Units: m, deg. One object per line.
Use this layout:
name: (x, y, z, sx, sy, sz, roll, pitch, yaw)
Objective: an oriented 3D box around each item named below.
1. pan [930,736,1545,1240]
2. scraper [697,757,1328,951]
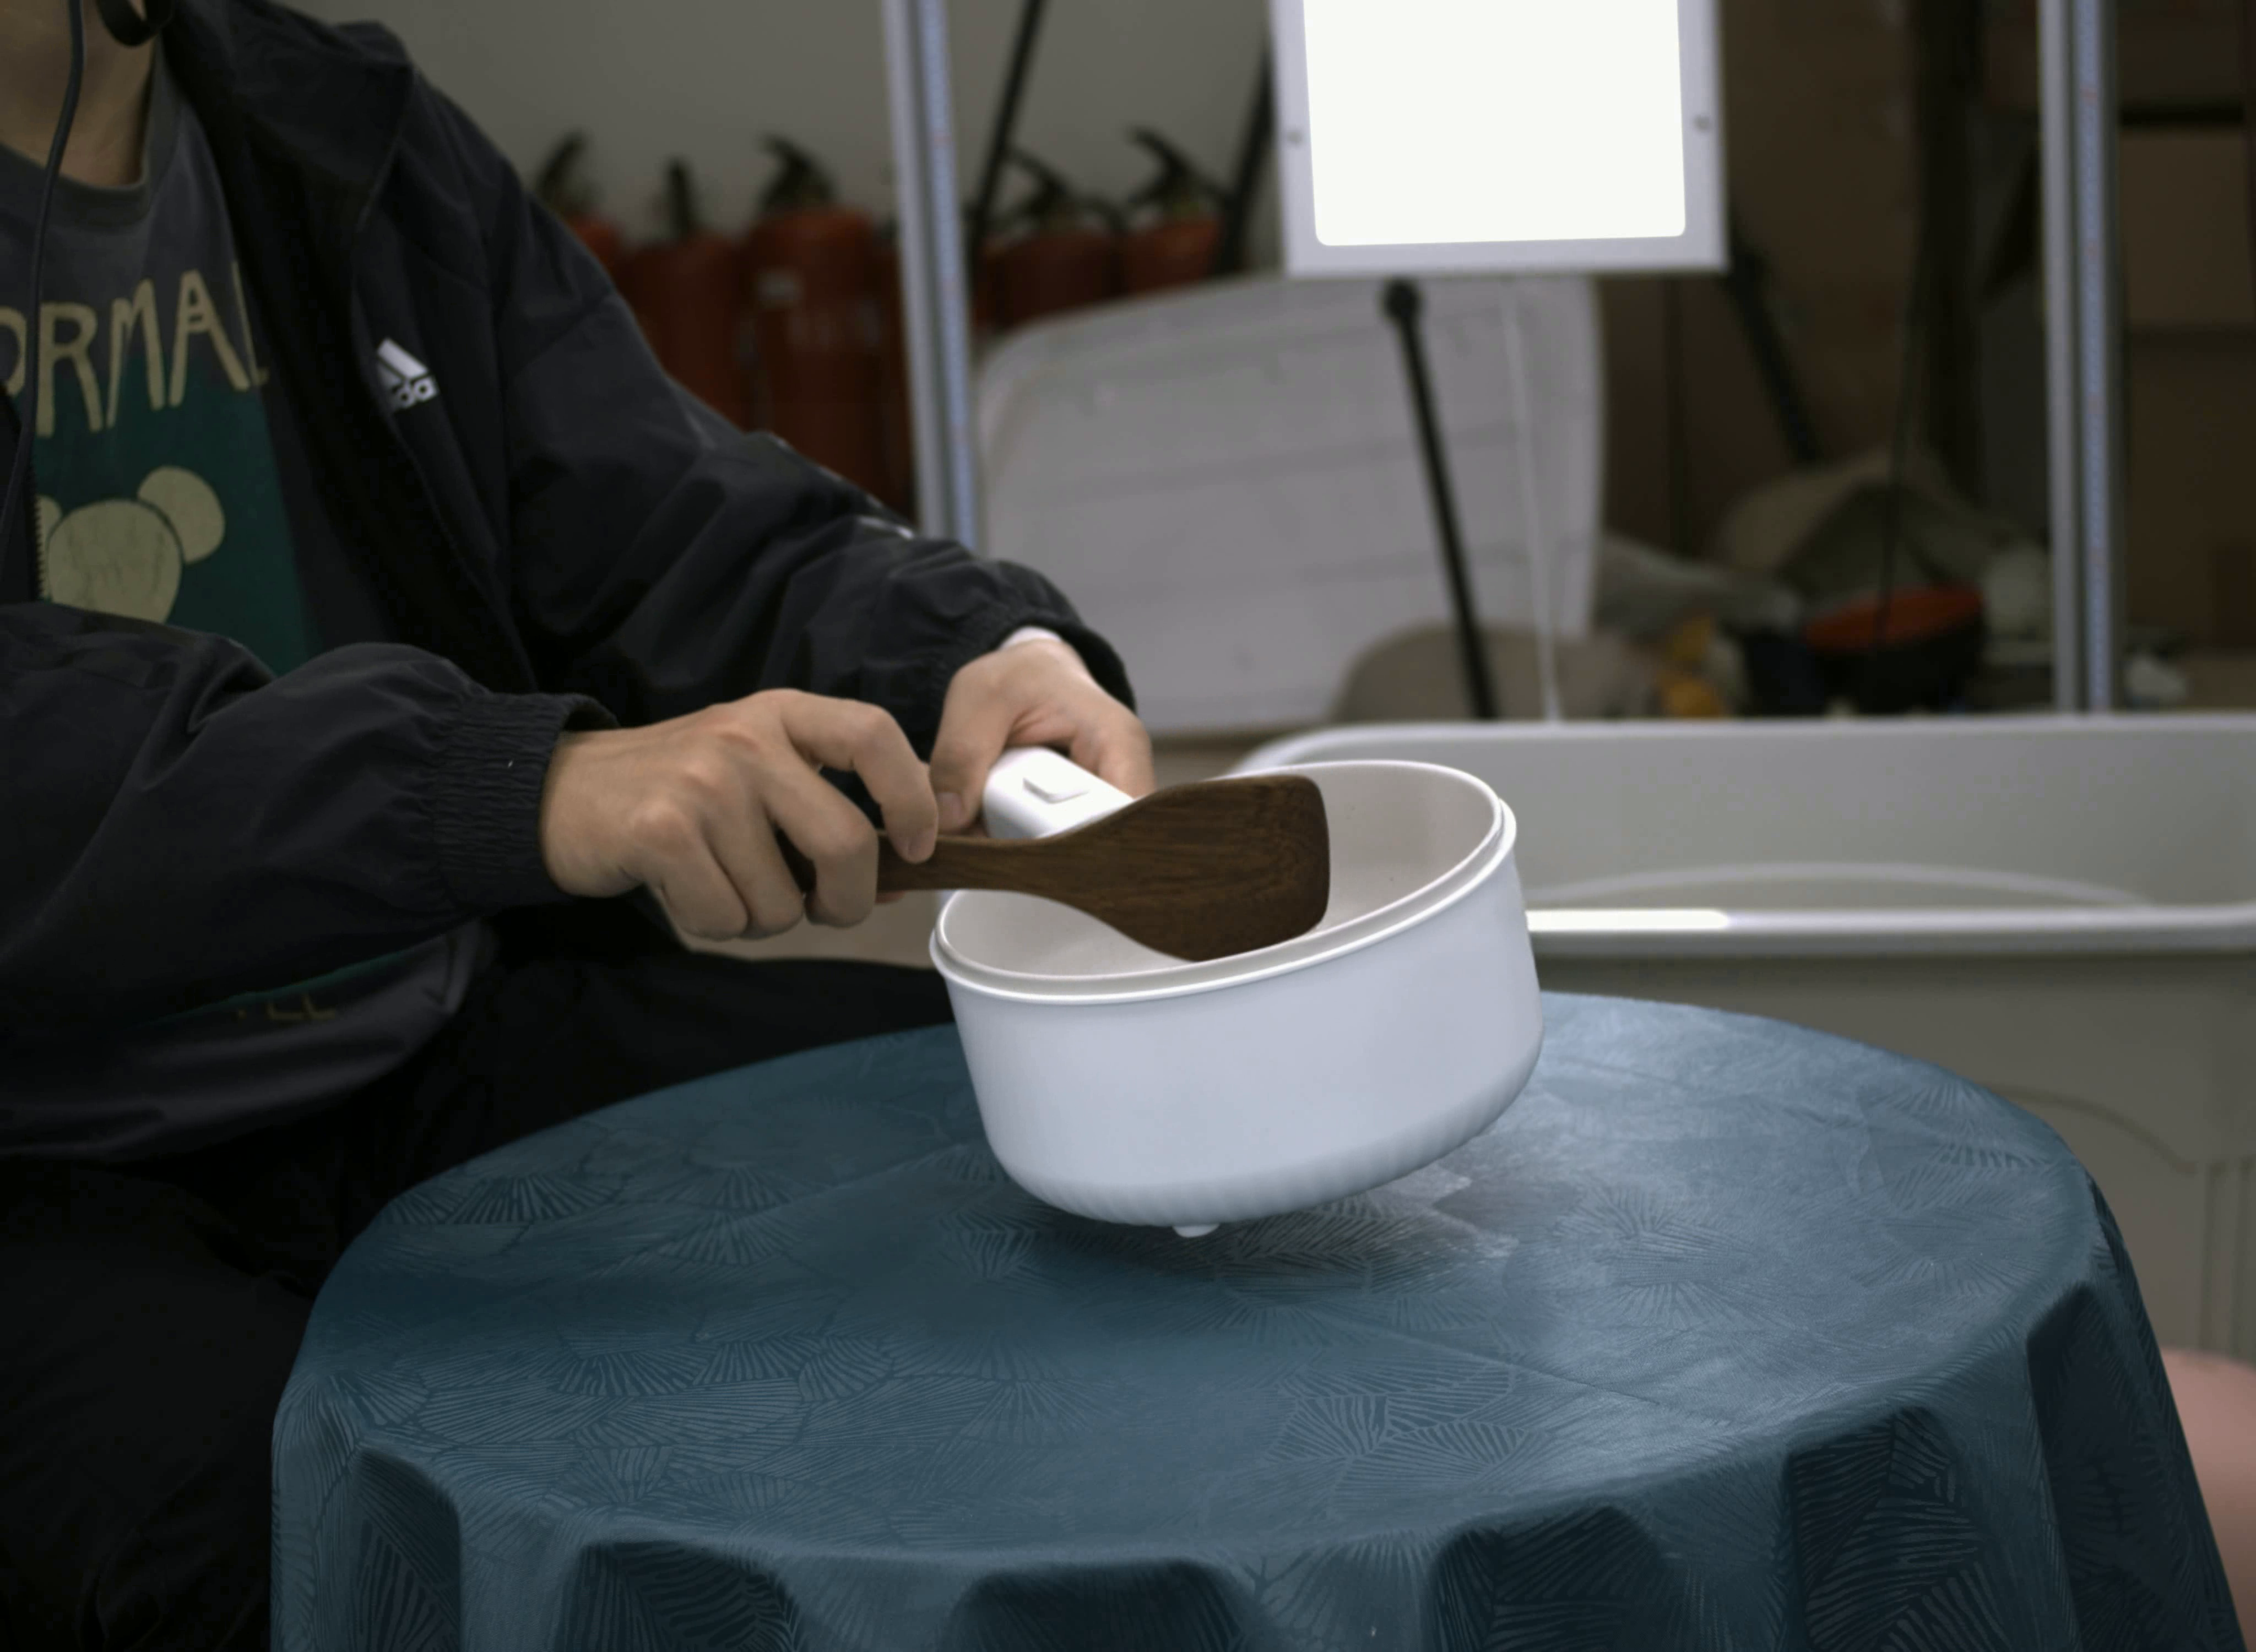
pan: (0.014, 0.047, 1.923, 0.198, 0.102, 0.359, -20, 16, -15)
scraper: (-0.039, 0.011, 1.823, 0.212, 0.076, 0.011, 1, 29, 8)
